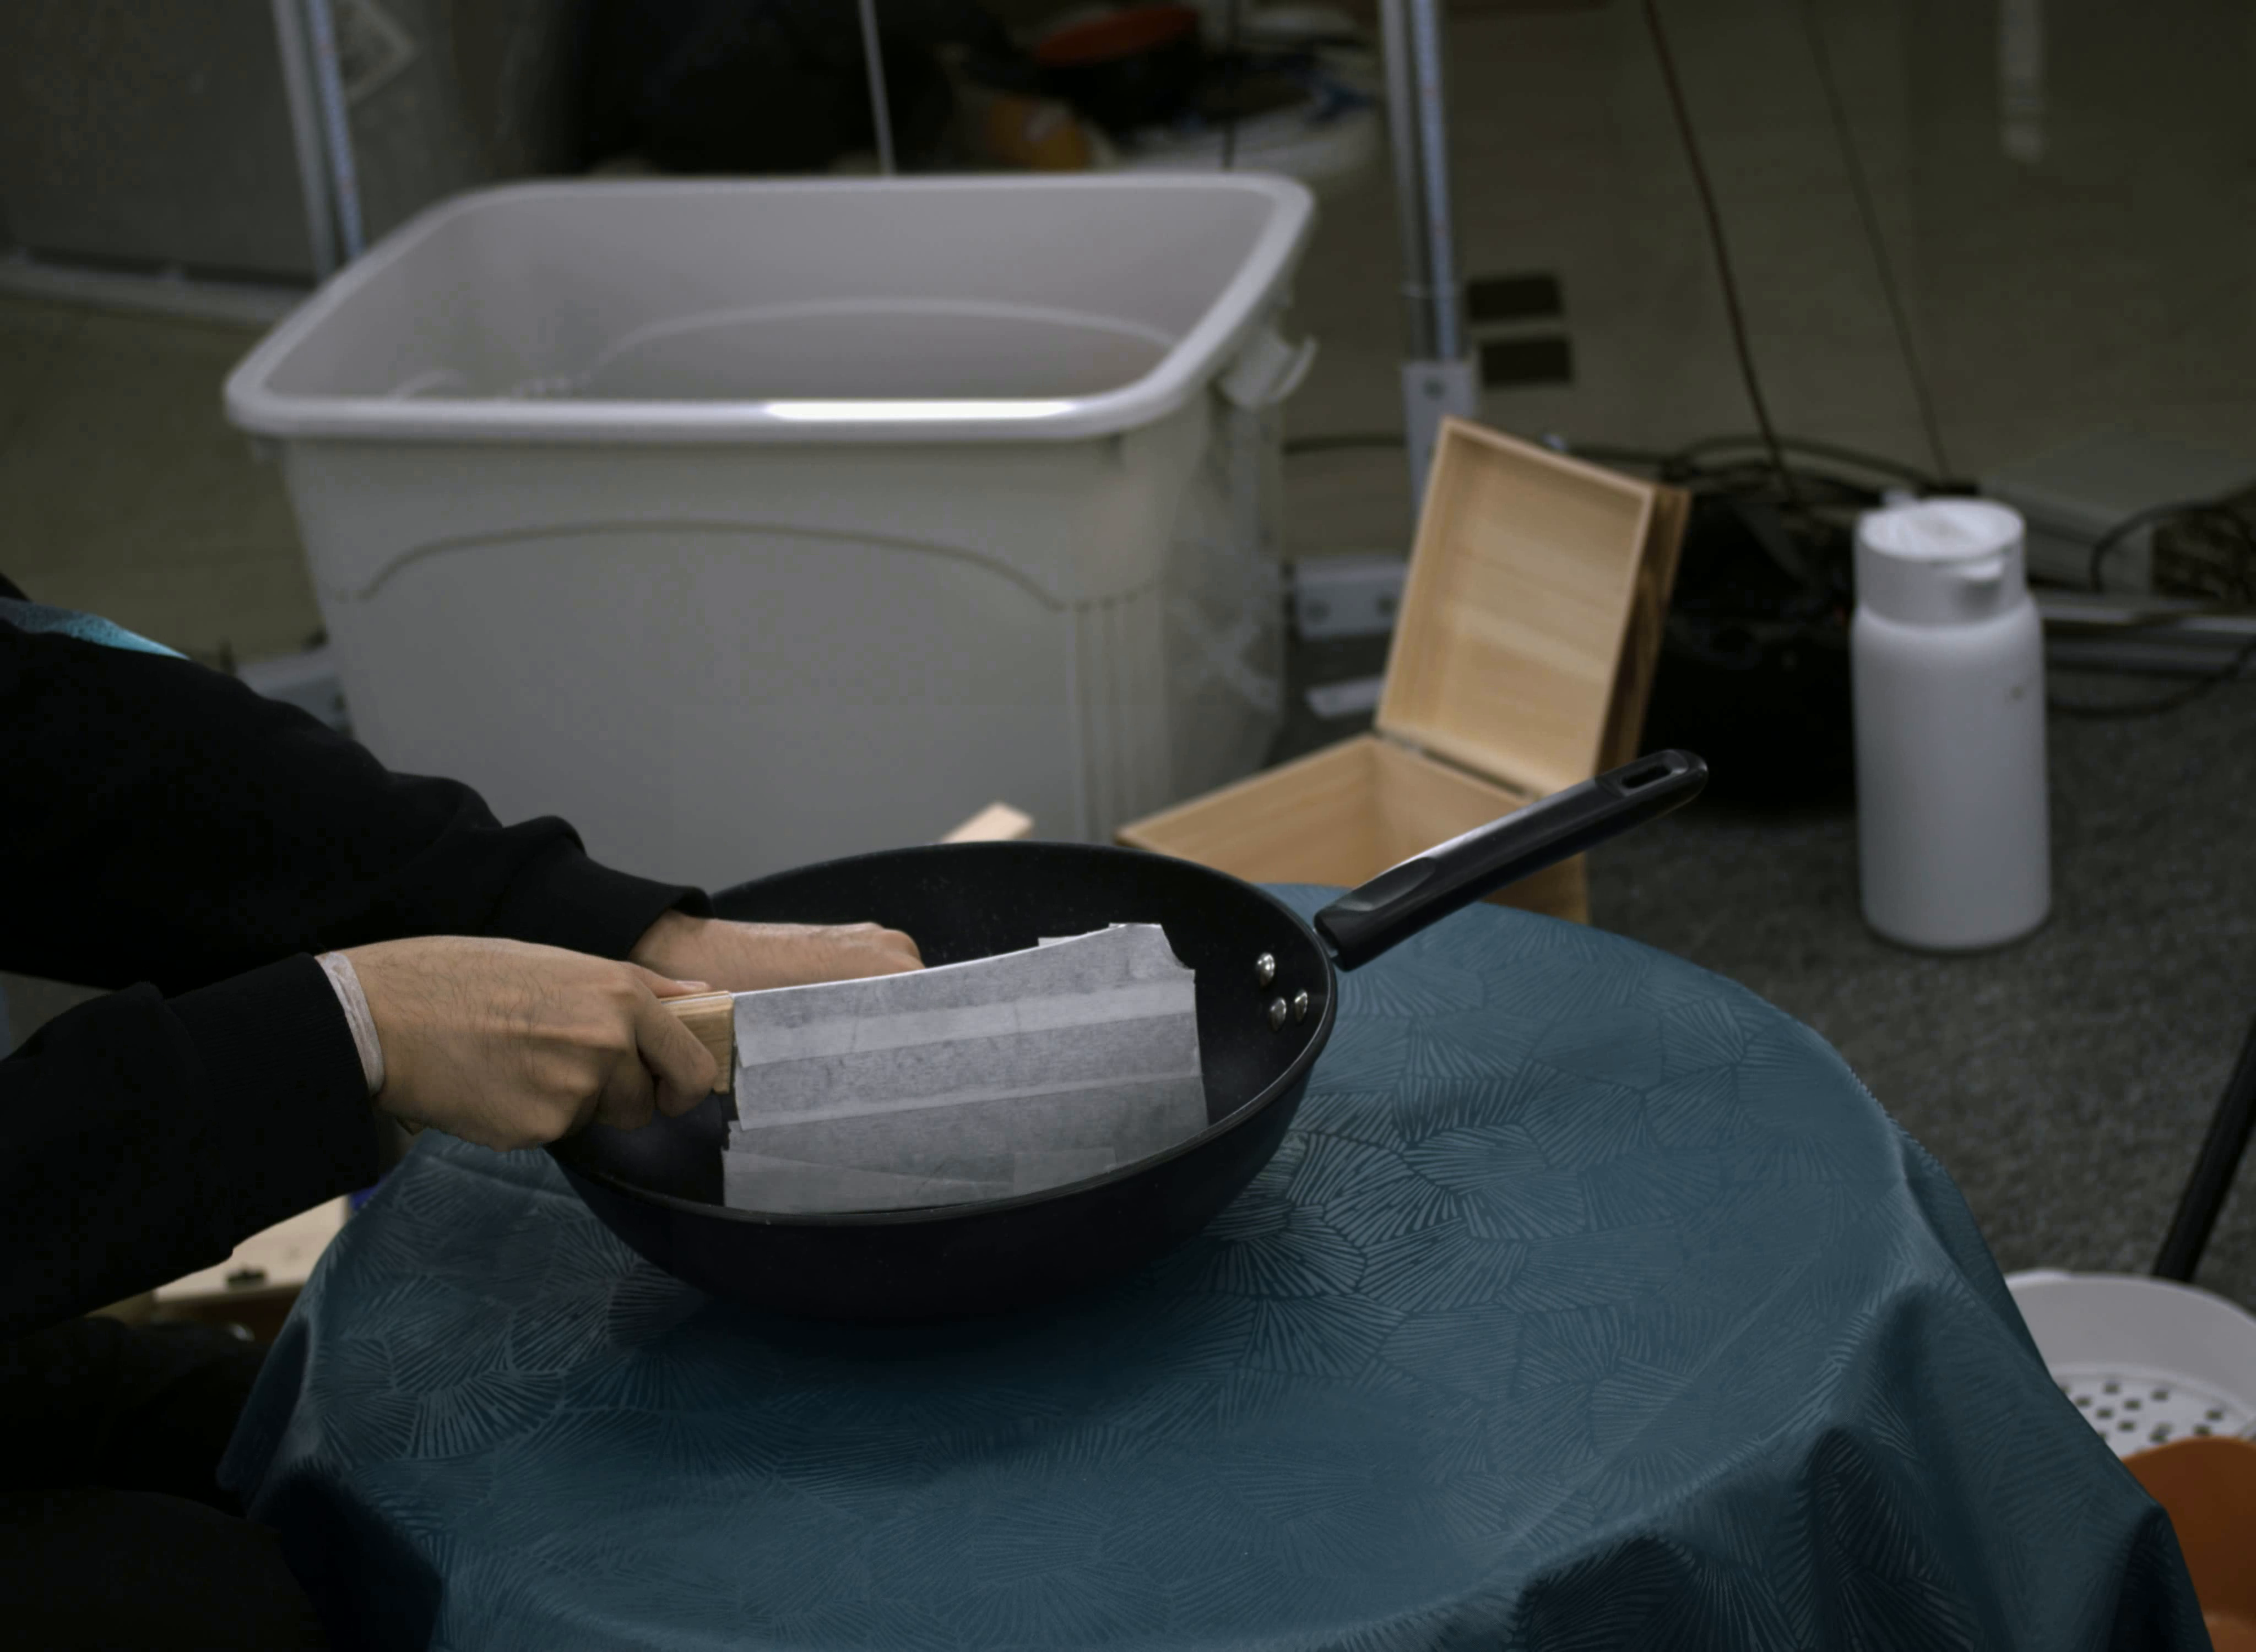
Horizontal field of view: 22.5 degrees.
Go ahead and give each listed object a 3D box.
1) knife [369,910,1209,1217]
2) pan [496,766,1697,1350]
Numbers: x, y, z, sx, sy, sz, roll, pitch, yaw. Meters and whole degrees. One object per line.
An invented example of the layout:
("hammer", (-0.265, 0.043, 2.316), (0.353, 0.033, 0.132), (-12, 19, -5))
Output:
("knife", (-0.119, 0.090, 2.071), (0.315, 0.115, 0.021), (-2, 17, -14))
("pan", (-0.001, 0.083, 2.141), (0.475, 0.113, 0.306), (-14, 28, -15))
